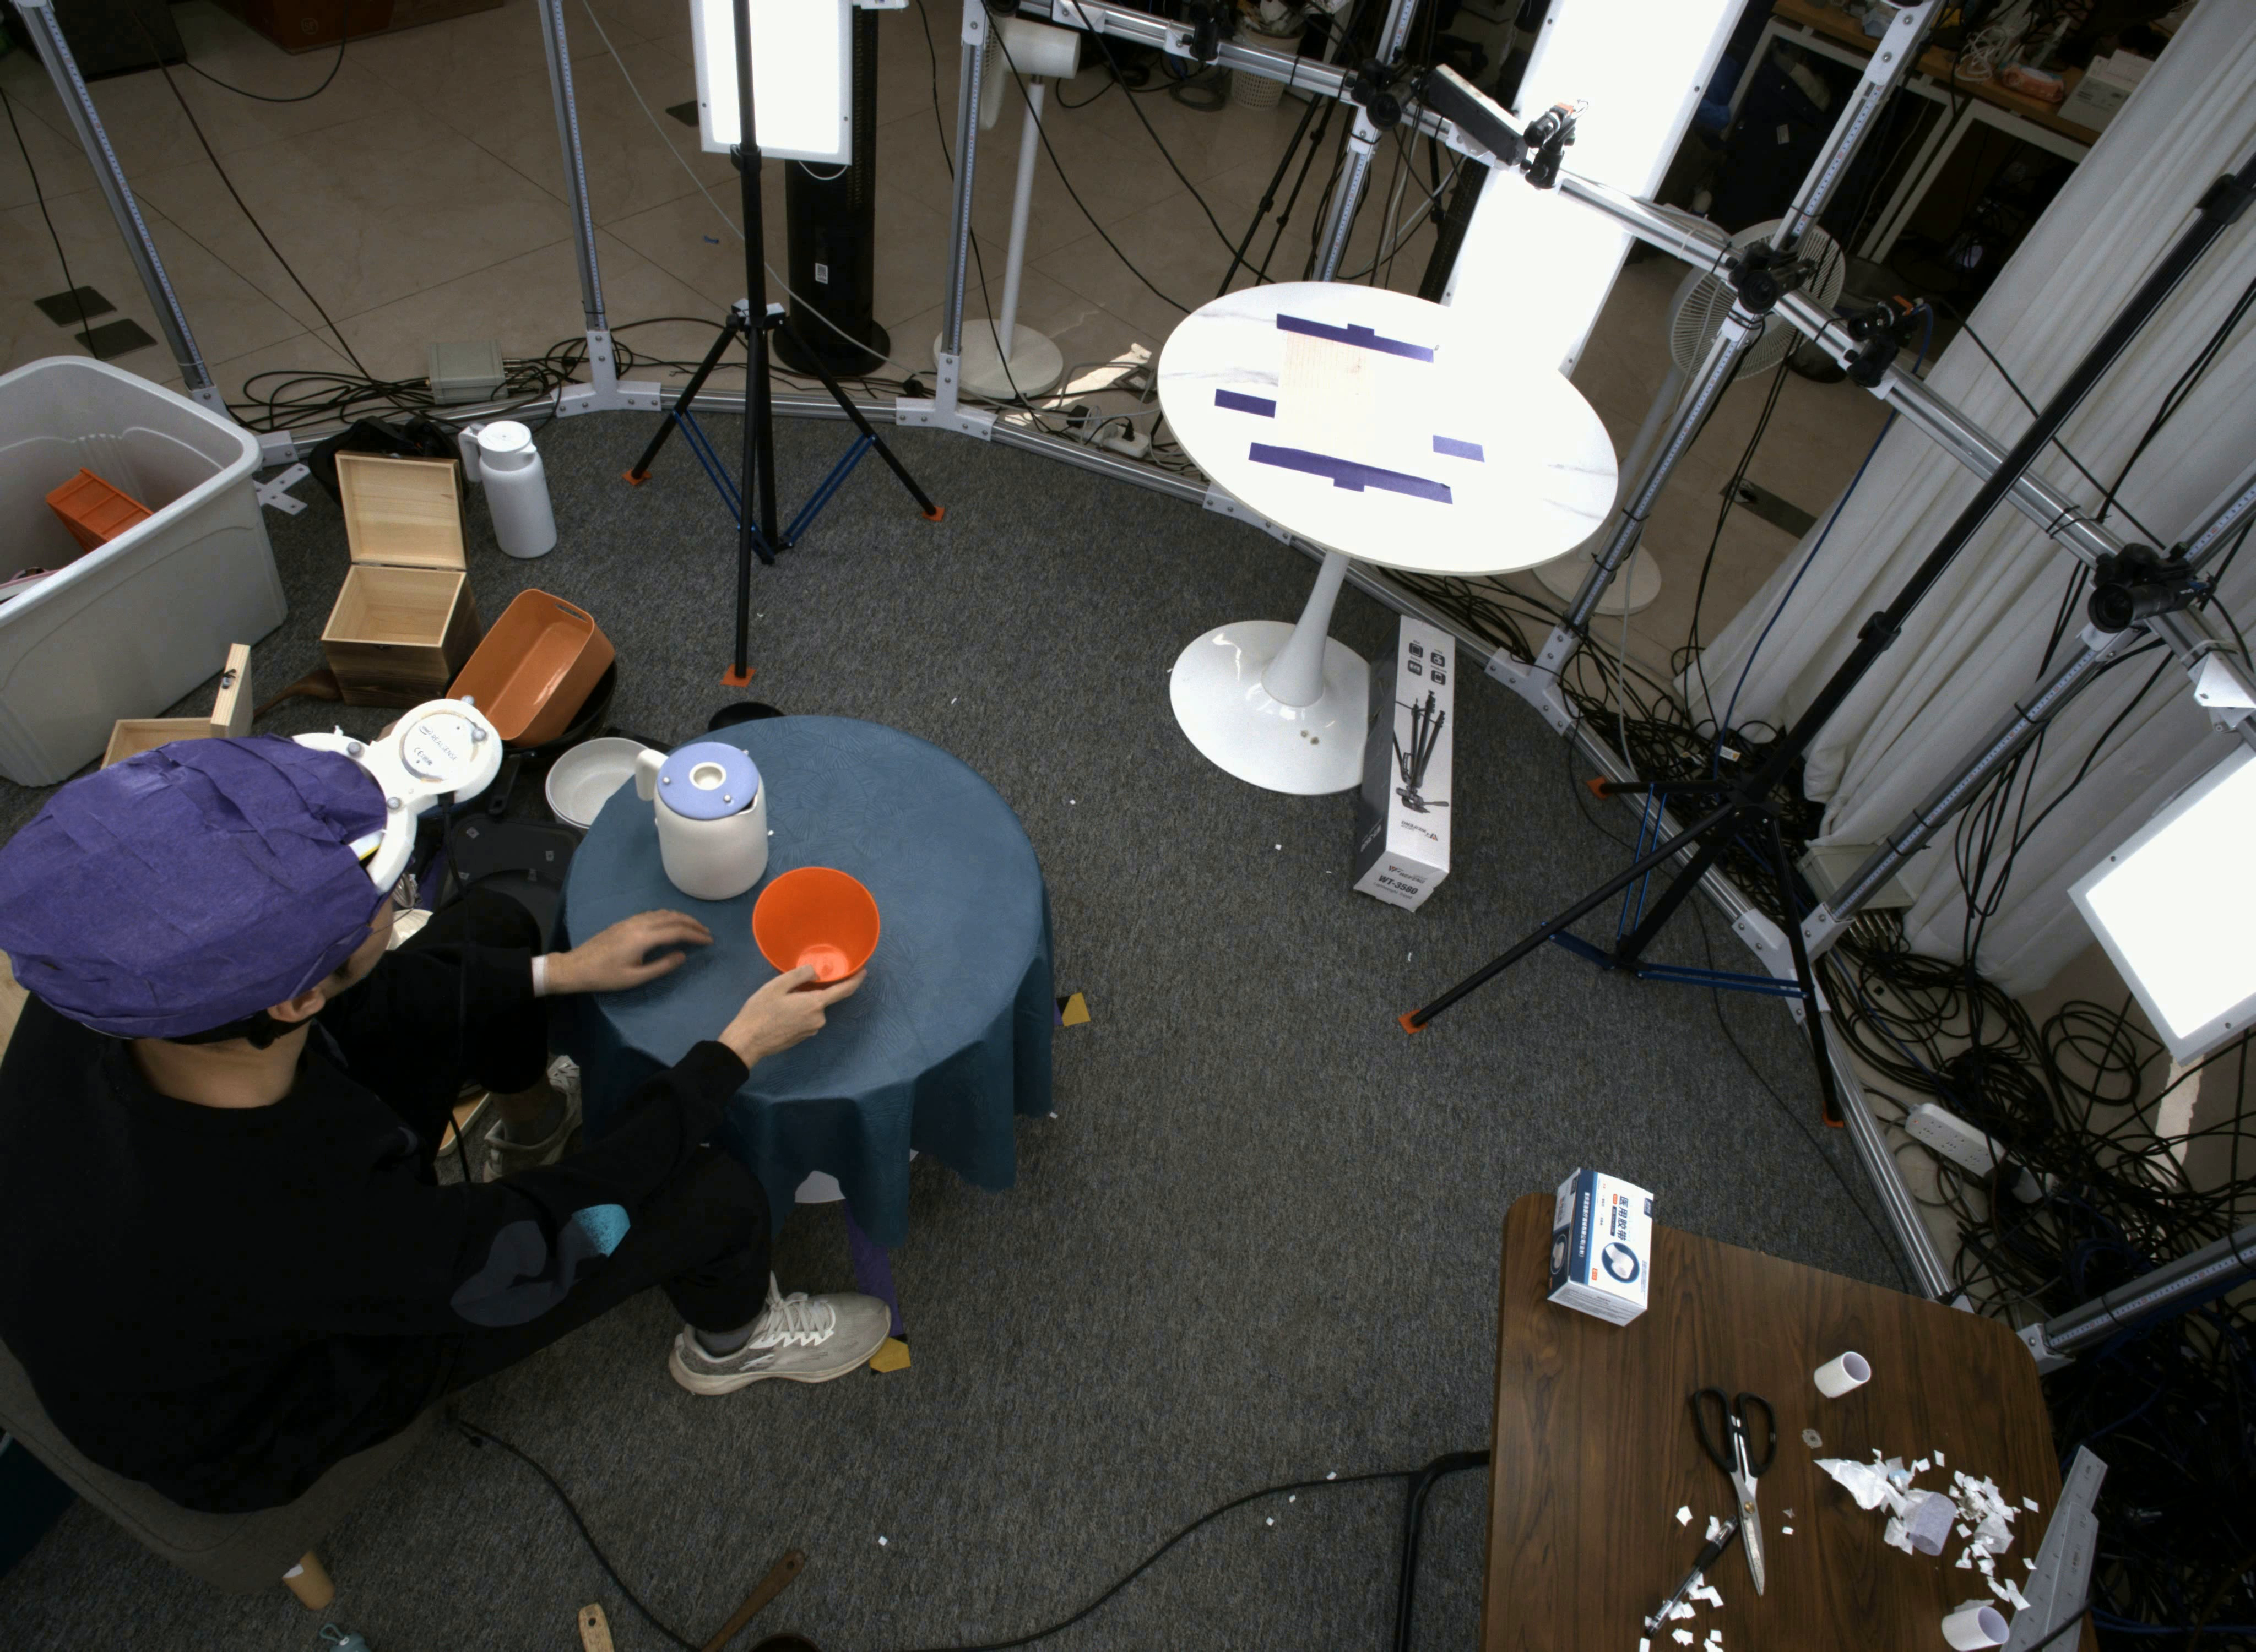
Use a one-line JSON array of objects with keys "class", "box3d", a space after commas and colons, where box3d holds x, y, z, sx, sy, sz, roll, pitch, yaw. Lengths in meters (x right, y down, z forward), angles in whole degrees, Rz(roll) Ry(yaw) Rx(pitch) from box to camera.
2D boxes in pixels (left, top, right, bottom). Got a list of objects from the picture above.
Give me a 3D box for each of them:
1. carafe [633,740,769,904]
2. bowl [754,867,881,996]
[{"class": "carafe", "box3d": [-0.538, -0.017, 1.602, 0.188, 0.187, 0.131, 26, 50, 10]}, {"class": "bowl", "box3d": [-0.372, 0.138, 1.566, 0.147, 0.107, 0.145, 7, 52, -8]}]
